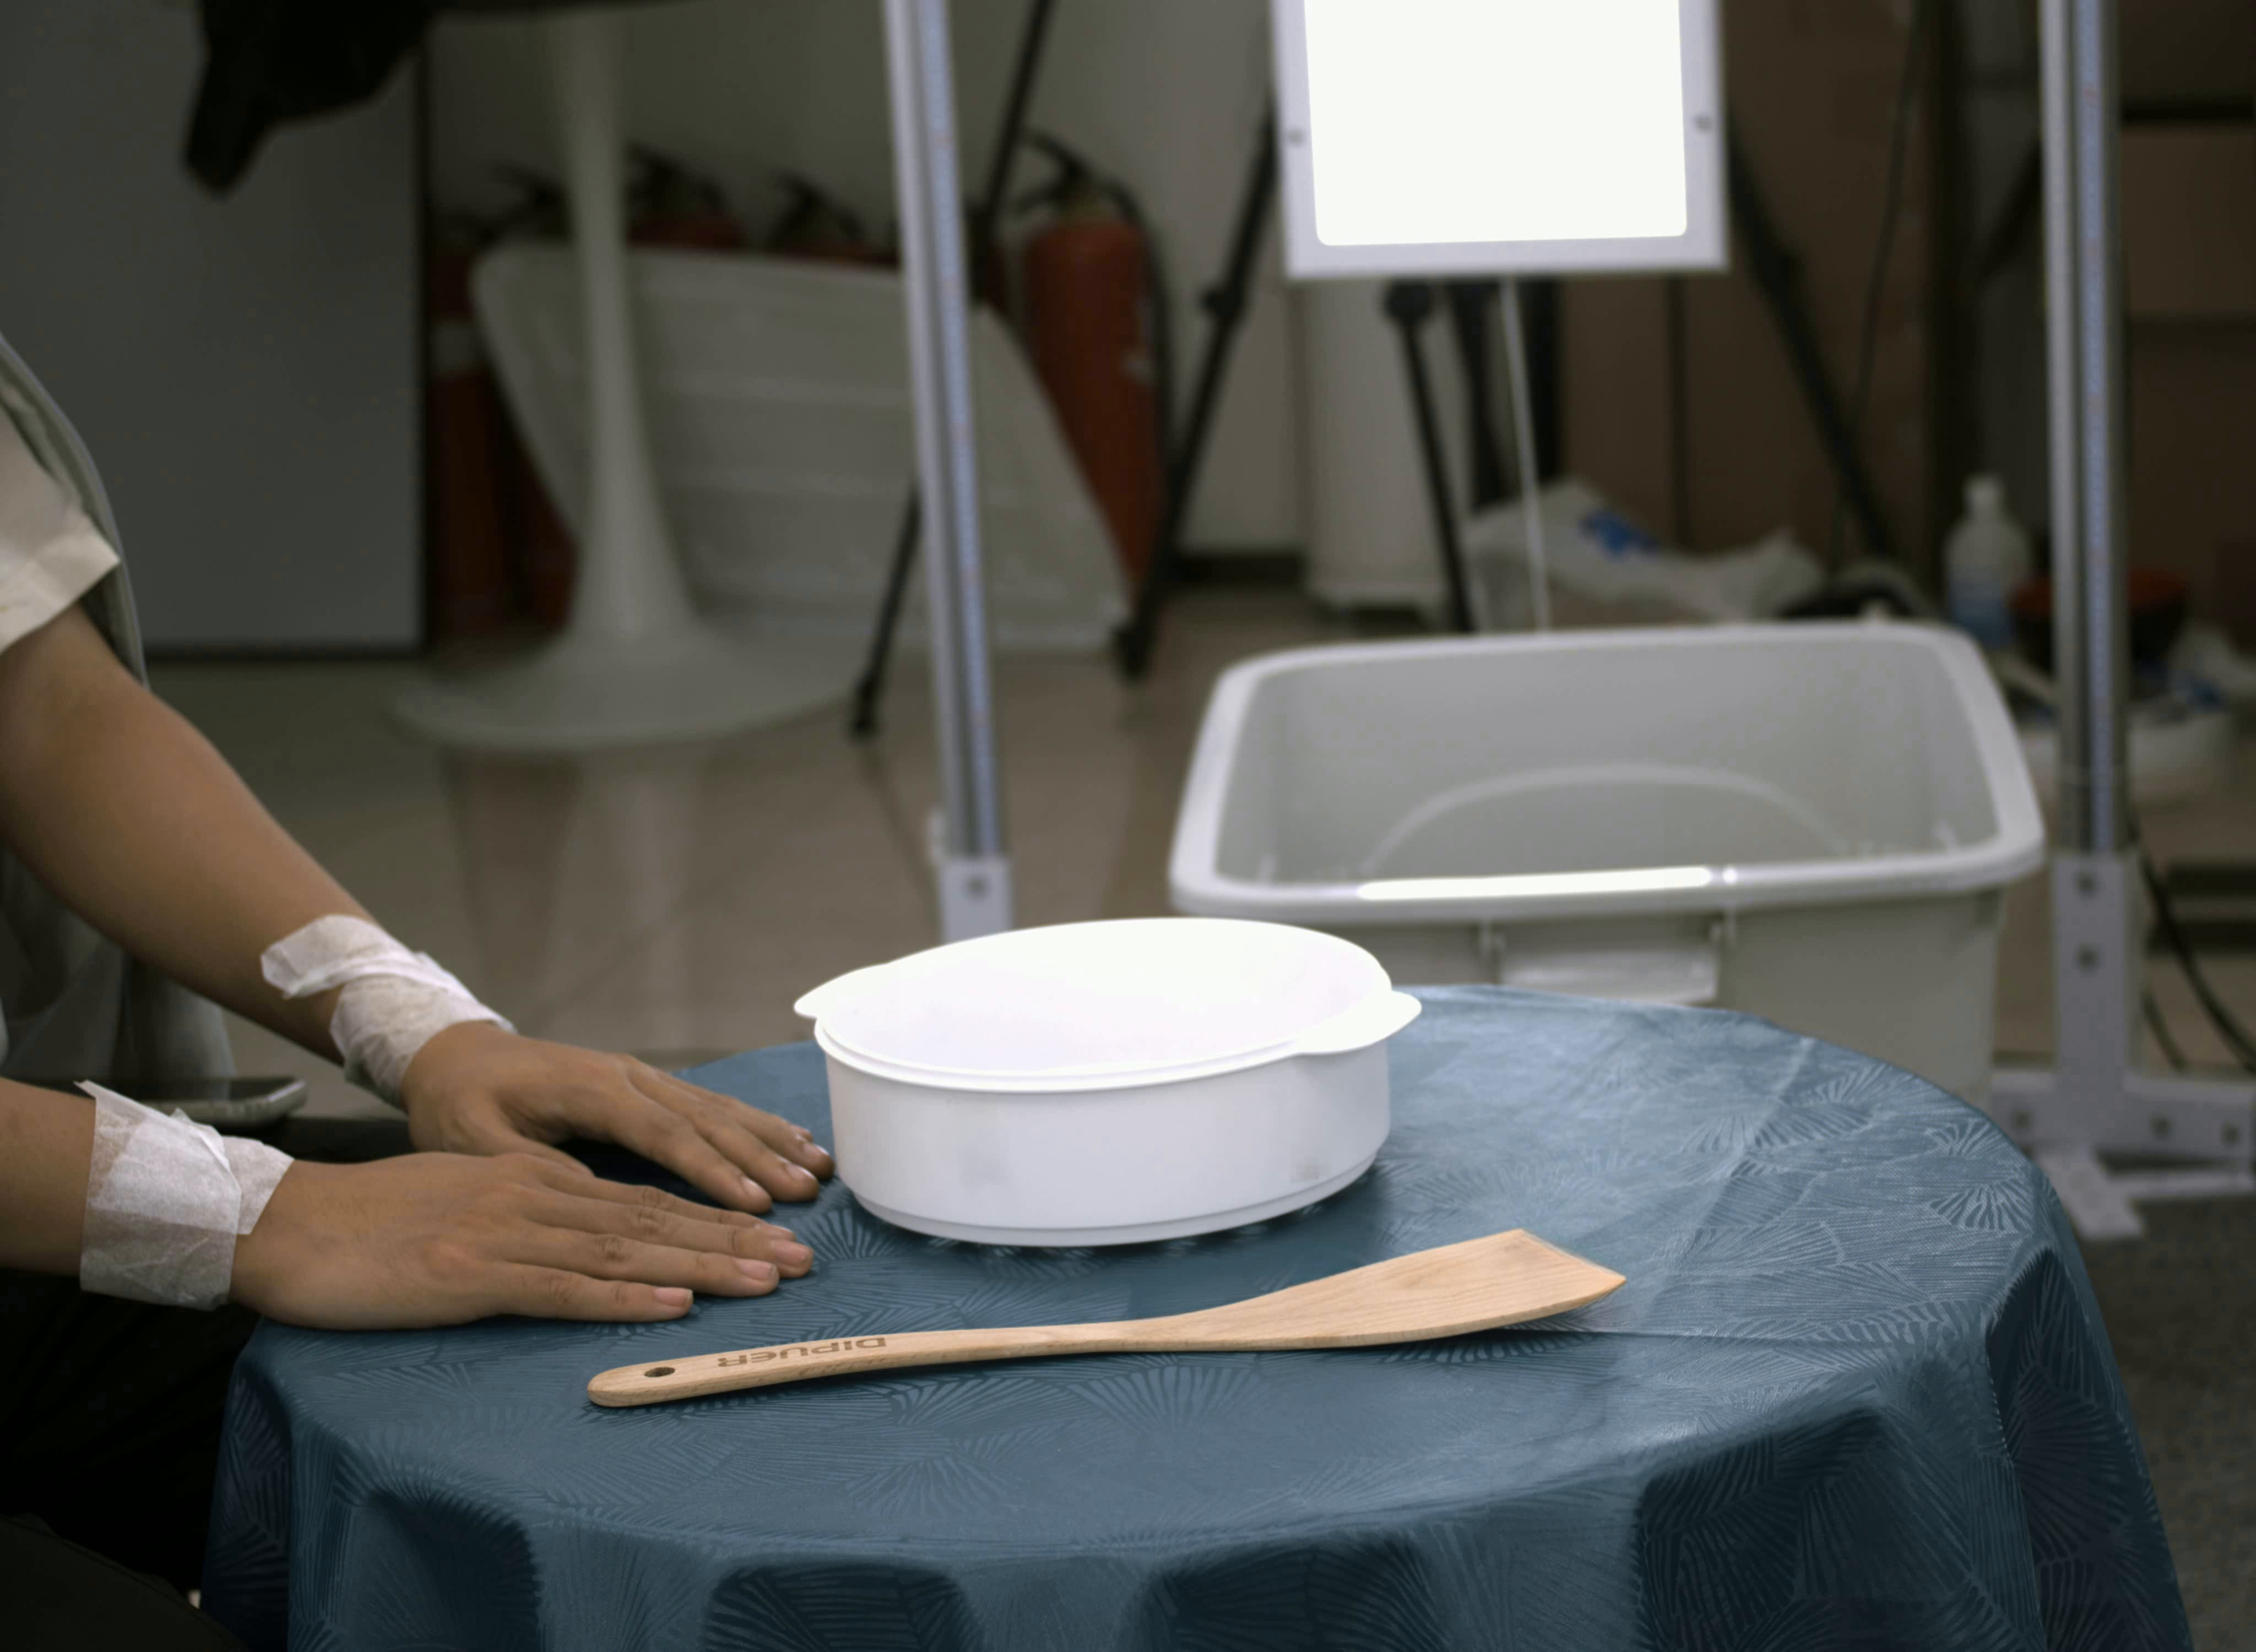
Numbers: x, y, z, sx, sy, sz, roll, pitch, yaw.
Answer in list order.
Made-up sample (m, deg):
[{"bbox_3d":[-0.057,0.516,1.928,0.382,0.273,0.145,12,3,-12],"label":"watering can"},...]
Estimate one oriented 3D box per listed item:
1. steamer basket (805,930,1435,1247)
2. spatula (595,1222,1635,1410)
[{"bbox_3d":[-0.002,0.091,1.907,0.235,0.069,0.197,2,14,30],"label":"steamer basket"},{"bbox_3d":[-0.006,0.157,1.738,0.326,0.016,0.080,-6,13,-2],"label":"spatula"}]
